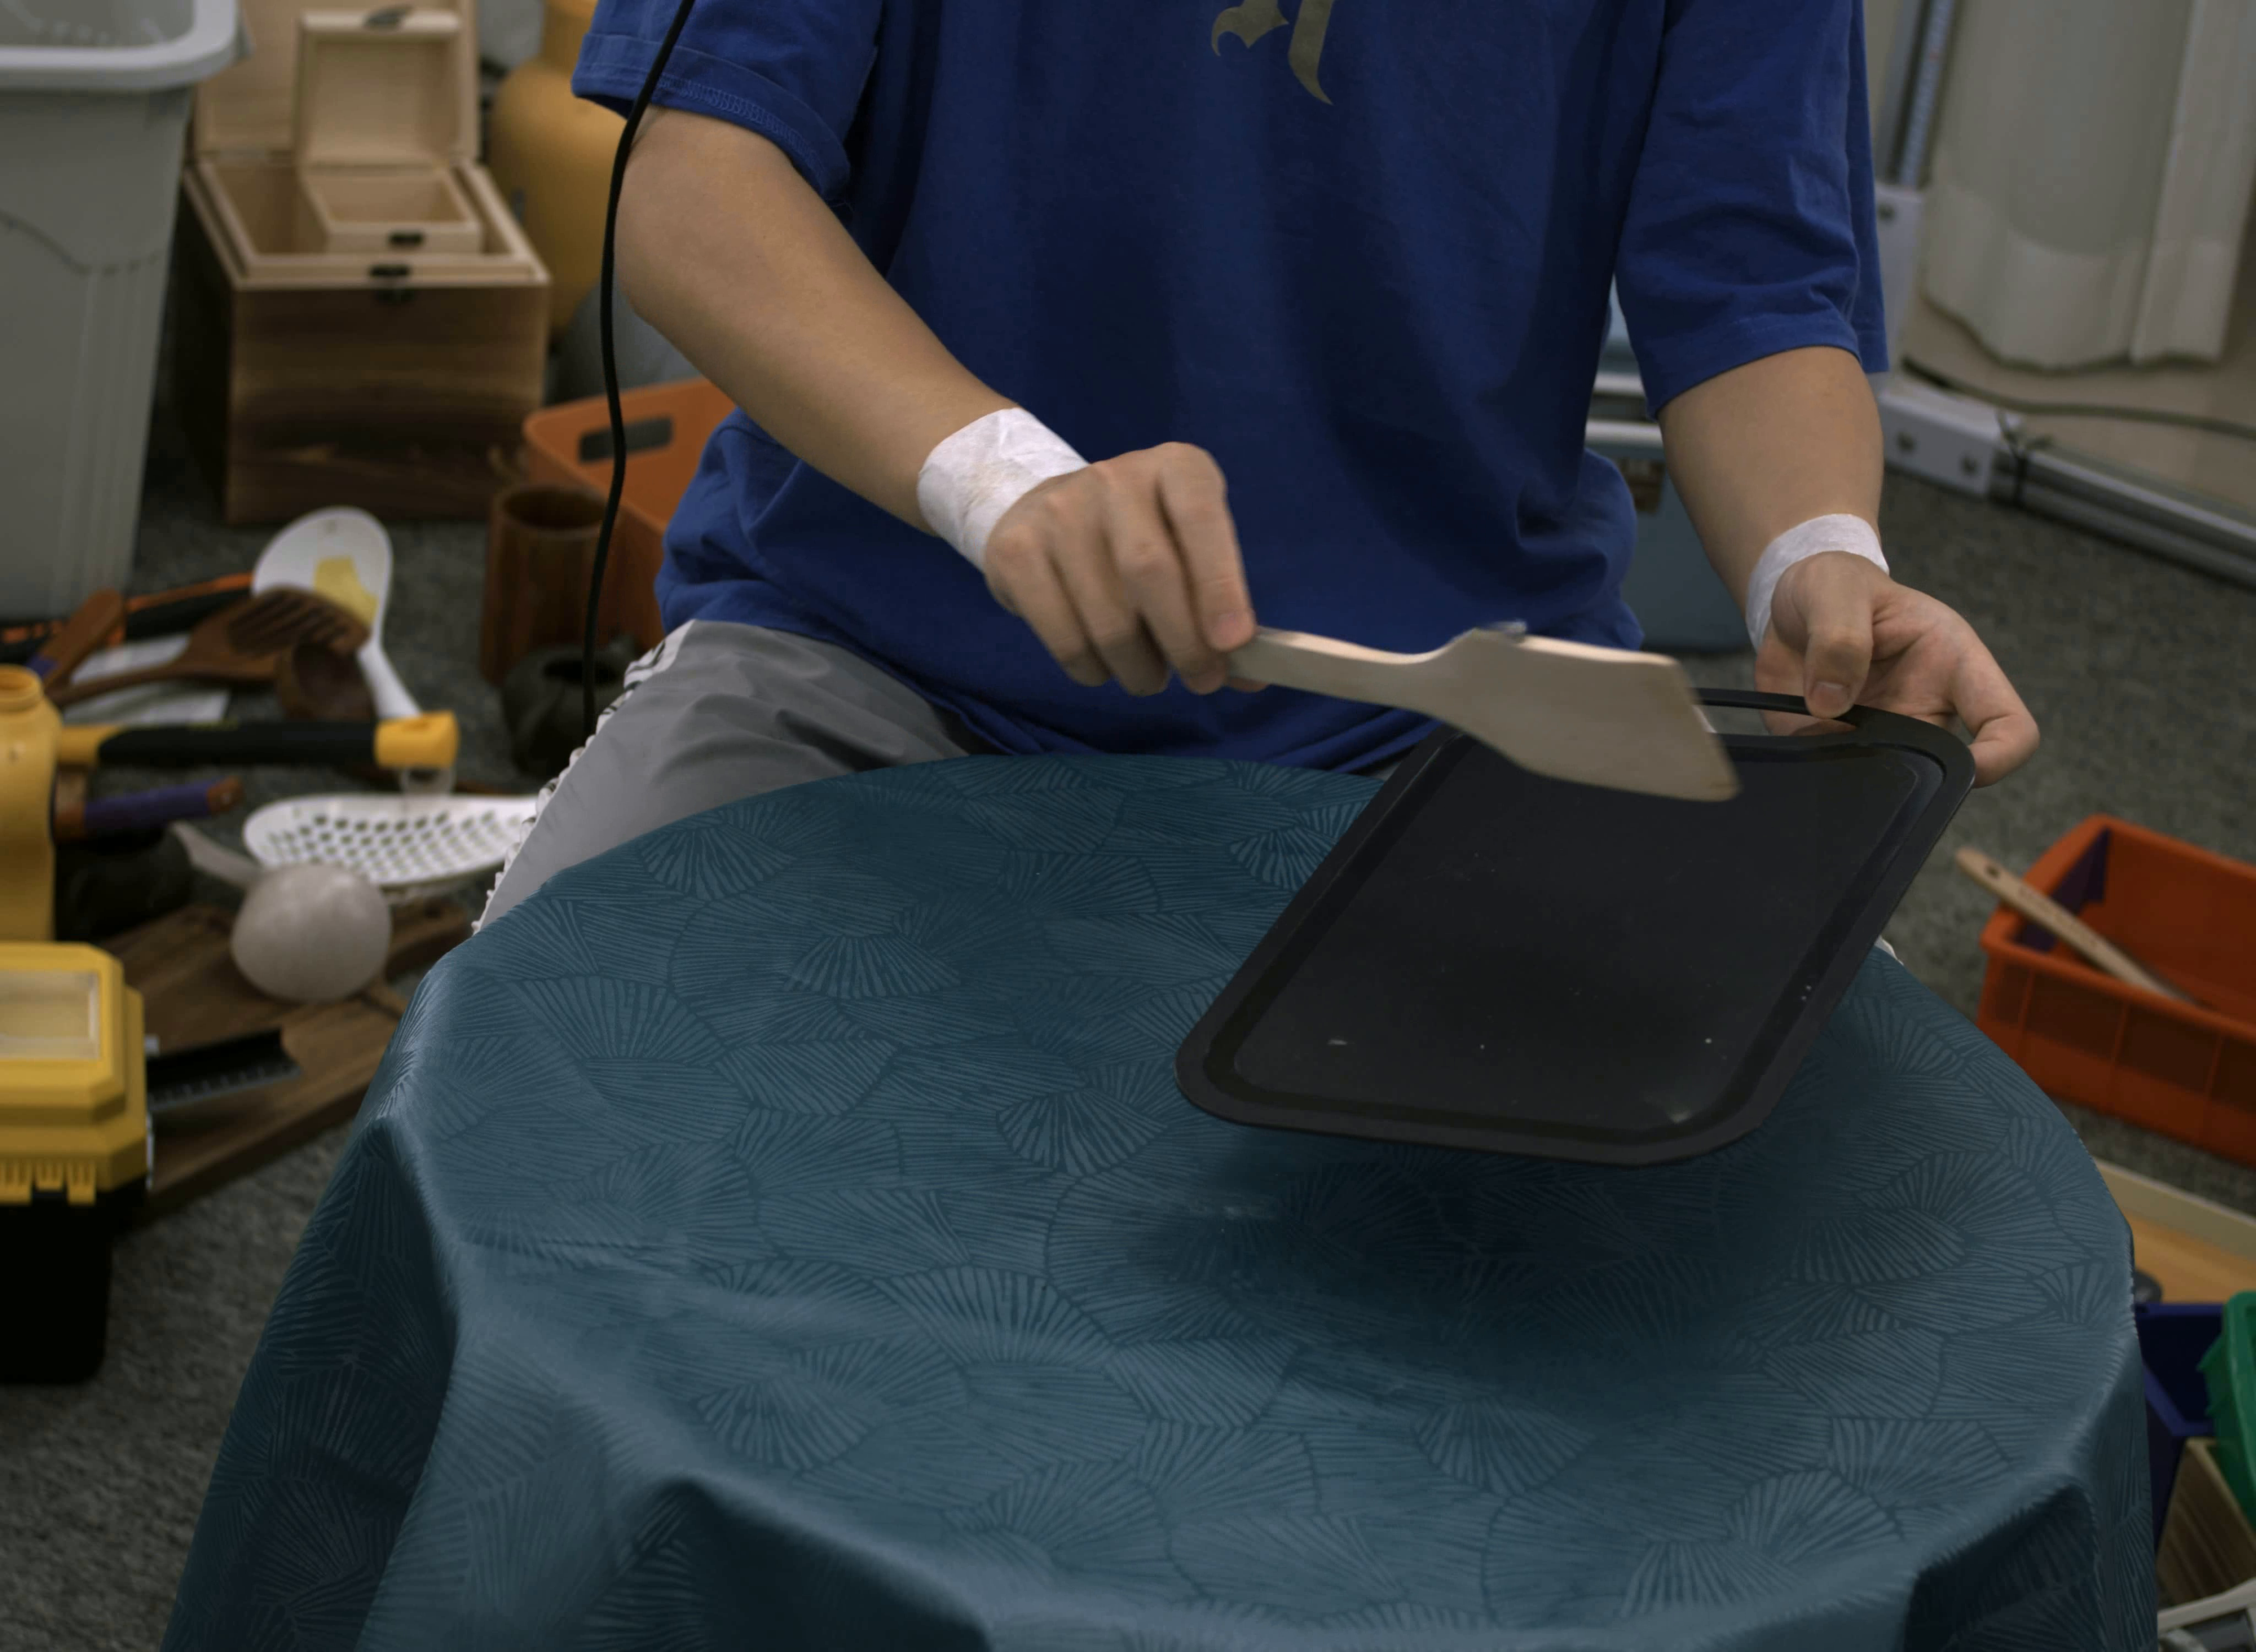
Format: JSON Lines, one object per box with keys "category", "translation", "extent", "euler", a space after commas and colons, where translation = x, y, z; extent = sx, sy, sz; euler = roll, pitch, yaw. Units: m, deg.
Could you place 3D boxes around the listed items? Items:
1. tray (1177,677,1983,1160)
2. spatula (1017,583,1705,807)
{"category": "tray", "translation": [0.161, 0.022, 1.827], "extent": [0.212, 0.010, 0.325], "euler": [5, 30, 26]}
{"category": "spatula", "translation": [0.070, -0.054, 1.832], "extent": [0.295, 0.071, 0.010], "euler": [14, 57, 41]}
